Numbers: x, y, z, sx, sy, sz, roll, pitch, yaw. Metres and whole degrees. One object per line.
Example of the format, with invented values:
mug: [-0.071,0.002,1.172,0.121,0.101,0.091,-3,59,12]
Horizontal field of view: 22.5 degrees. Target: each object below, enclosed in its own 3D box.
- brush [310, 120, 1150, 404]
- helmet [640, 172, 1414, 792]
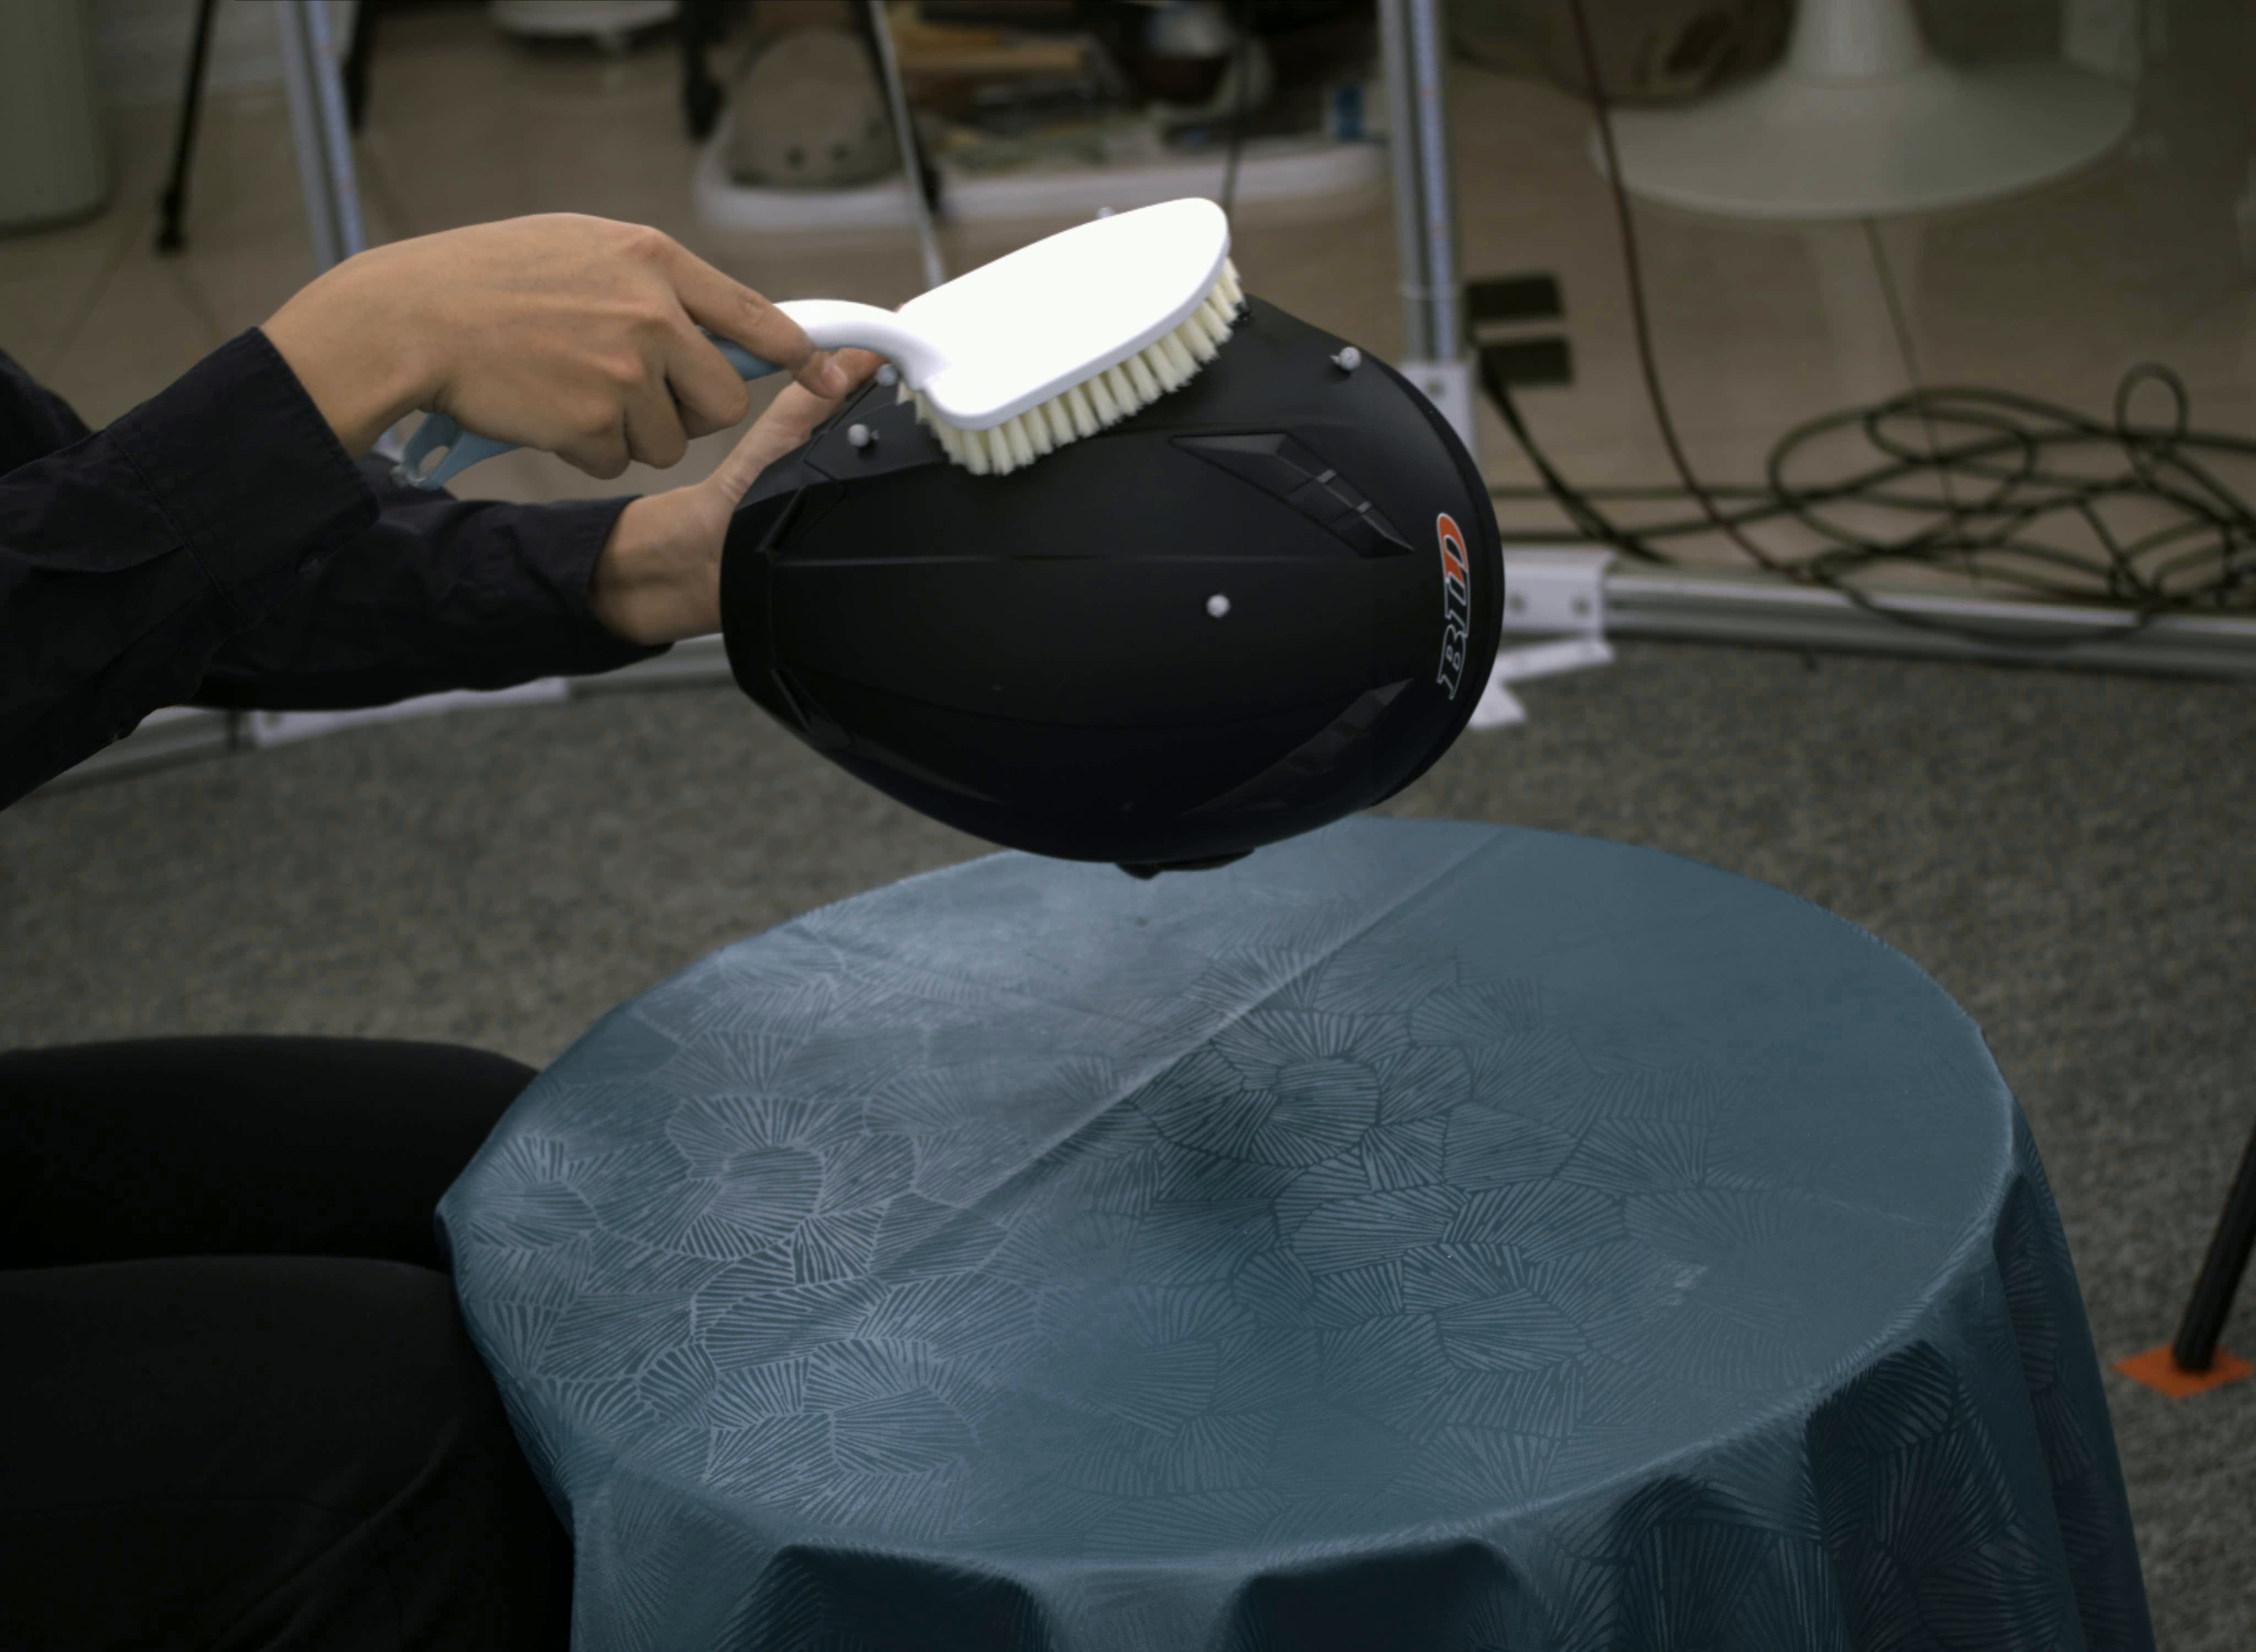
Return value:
brush: [-0.142,-0.184,2.044,0.324,0.085,0.082,-18,13,-19]
helmet: [-0.040,-0.121,2.147,0.276,0.250,0.170,5,19,15]
